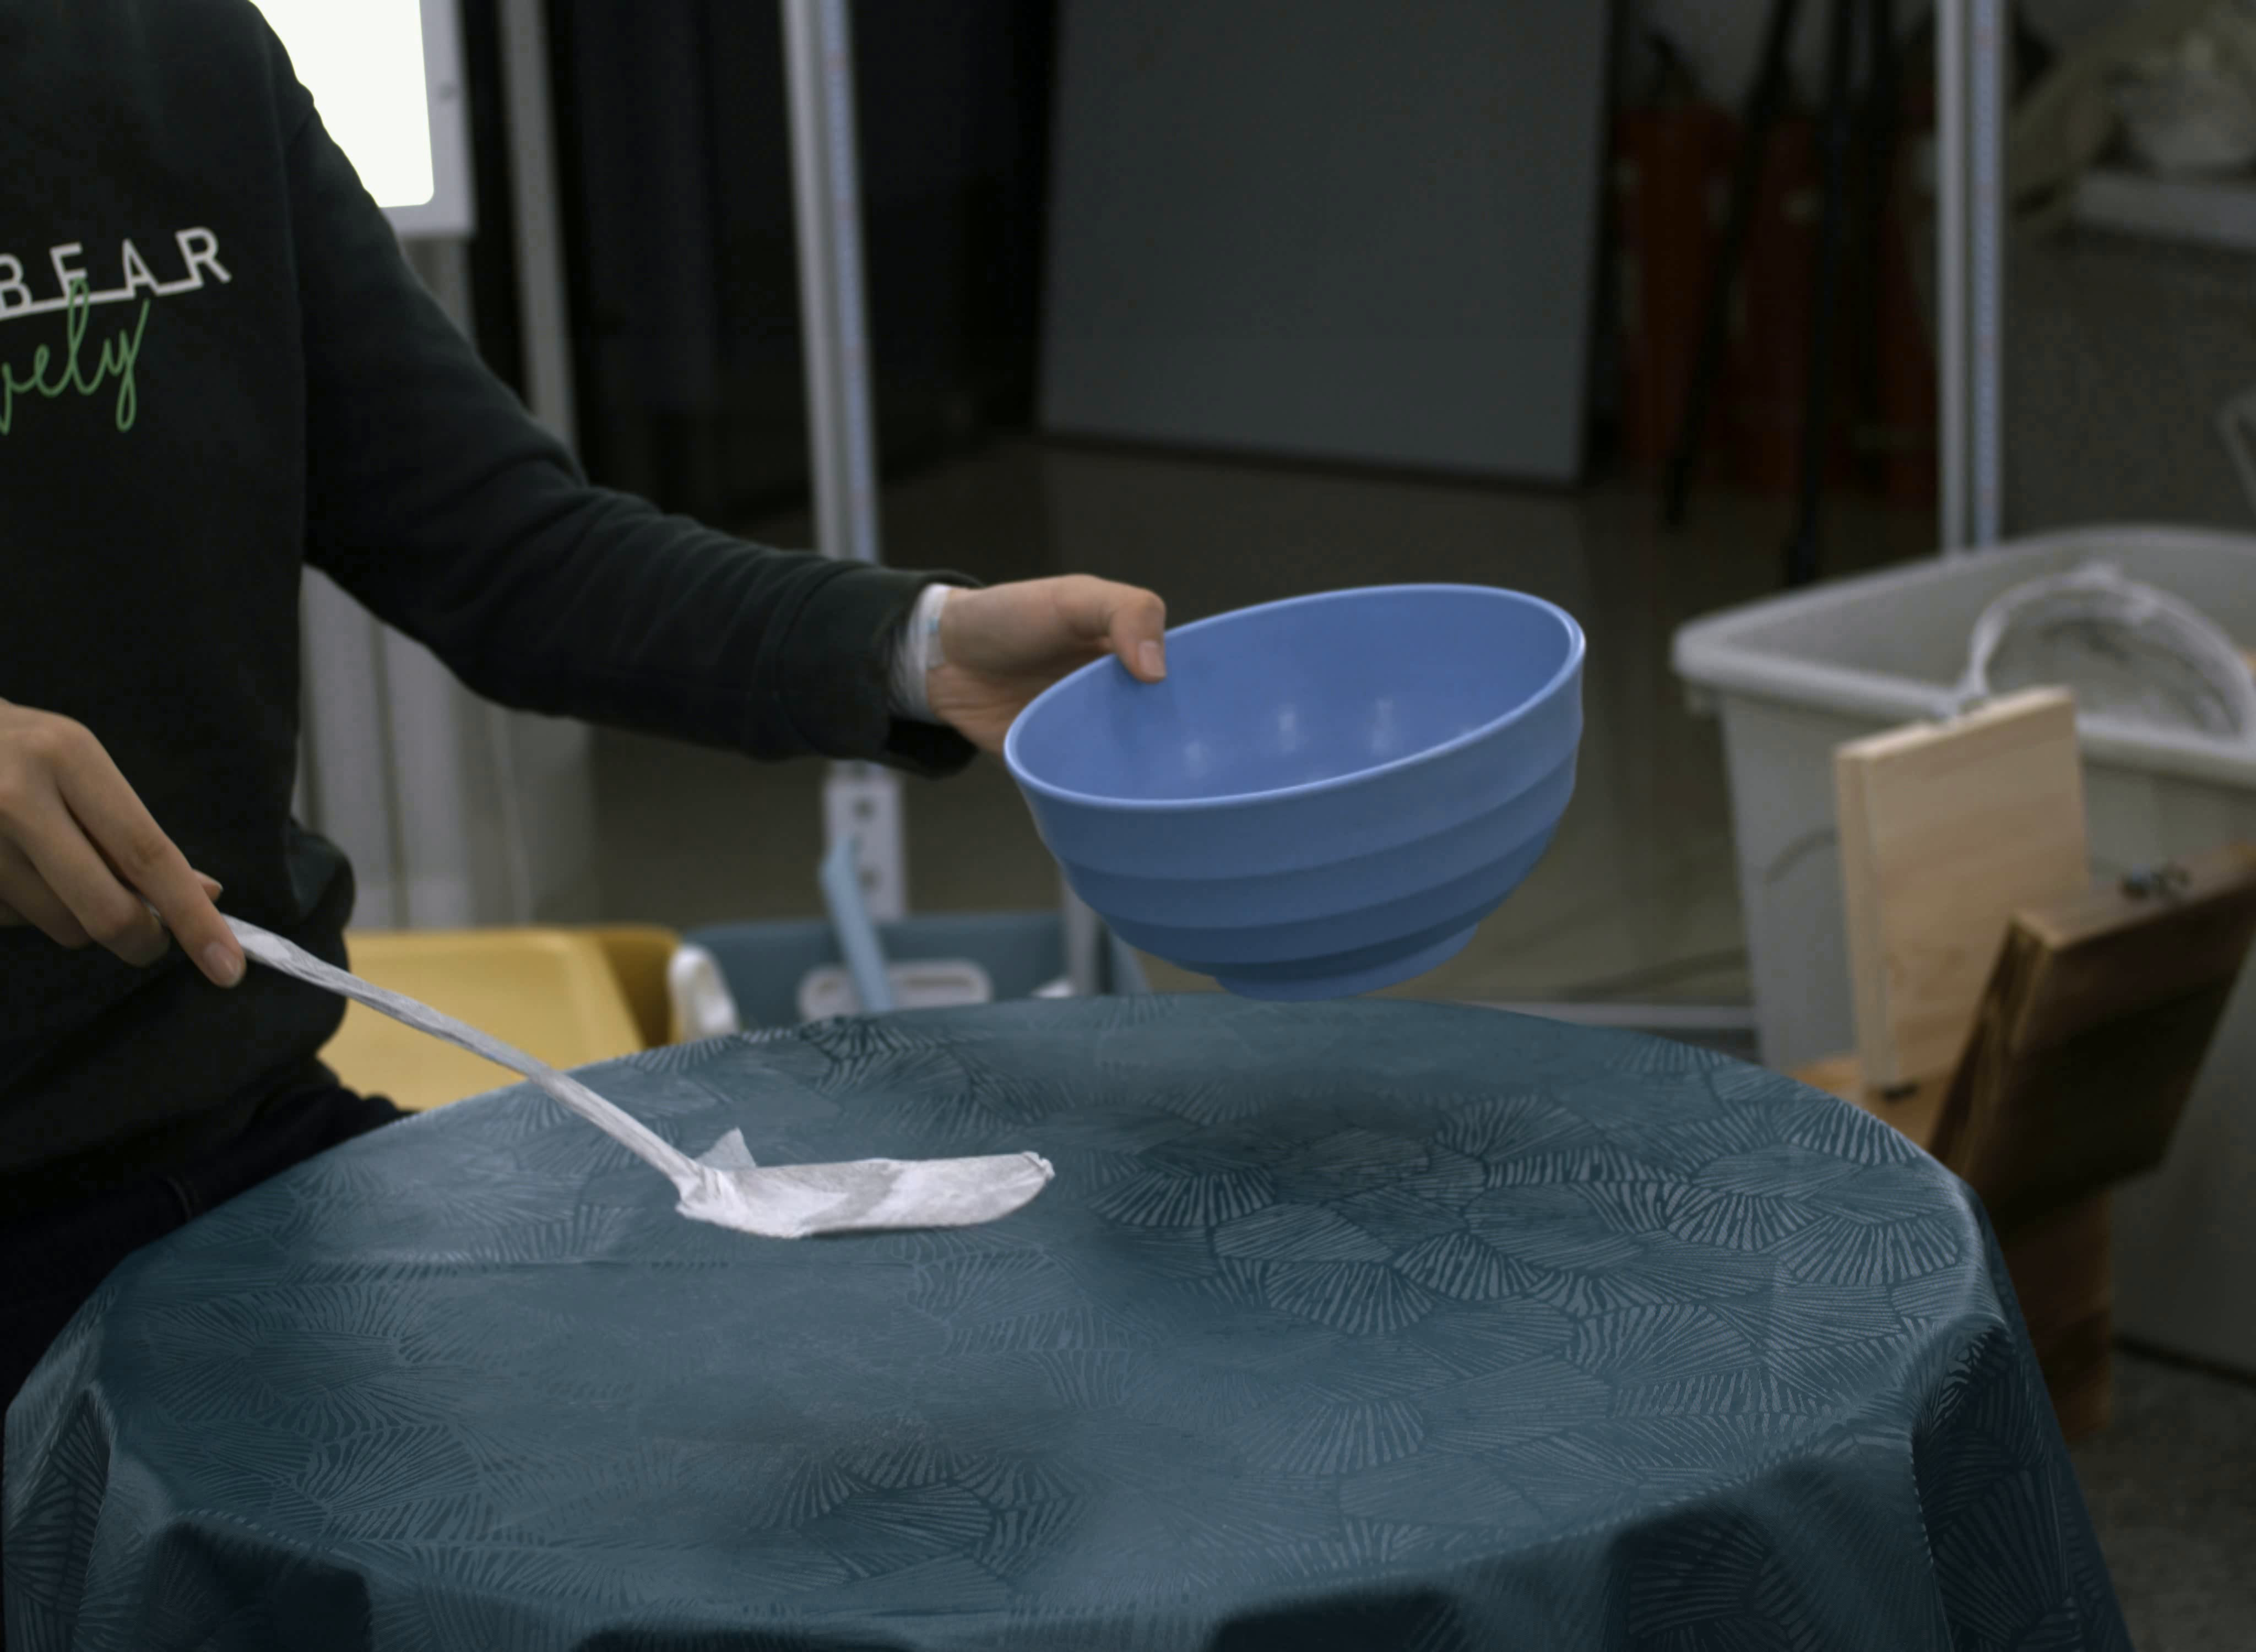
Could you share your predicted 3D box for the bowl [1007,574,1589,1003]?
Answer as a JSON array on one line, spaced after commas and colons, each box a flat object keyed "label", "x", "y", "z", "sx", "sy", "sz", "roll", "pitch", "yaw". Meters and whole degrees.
[{"label": "bowl", "x": 0.064, "y": -0.003, "z": 1.784, "sx": 0.194, "sy": 0.096, "sz": 0.197, "roll": -11, "pitch": 20, "yaw": 3}]

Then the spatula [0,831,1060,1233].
[{"label": "spatula", "x": -0.192, "y": 0.054, "z": 1.569, "sx": 0.365, "sy": 0.045, "sz": 0.097, "roll": 23, "pitch": 16, "yaw": 18}]
